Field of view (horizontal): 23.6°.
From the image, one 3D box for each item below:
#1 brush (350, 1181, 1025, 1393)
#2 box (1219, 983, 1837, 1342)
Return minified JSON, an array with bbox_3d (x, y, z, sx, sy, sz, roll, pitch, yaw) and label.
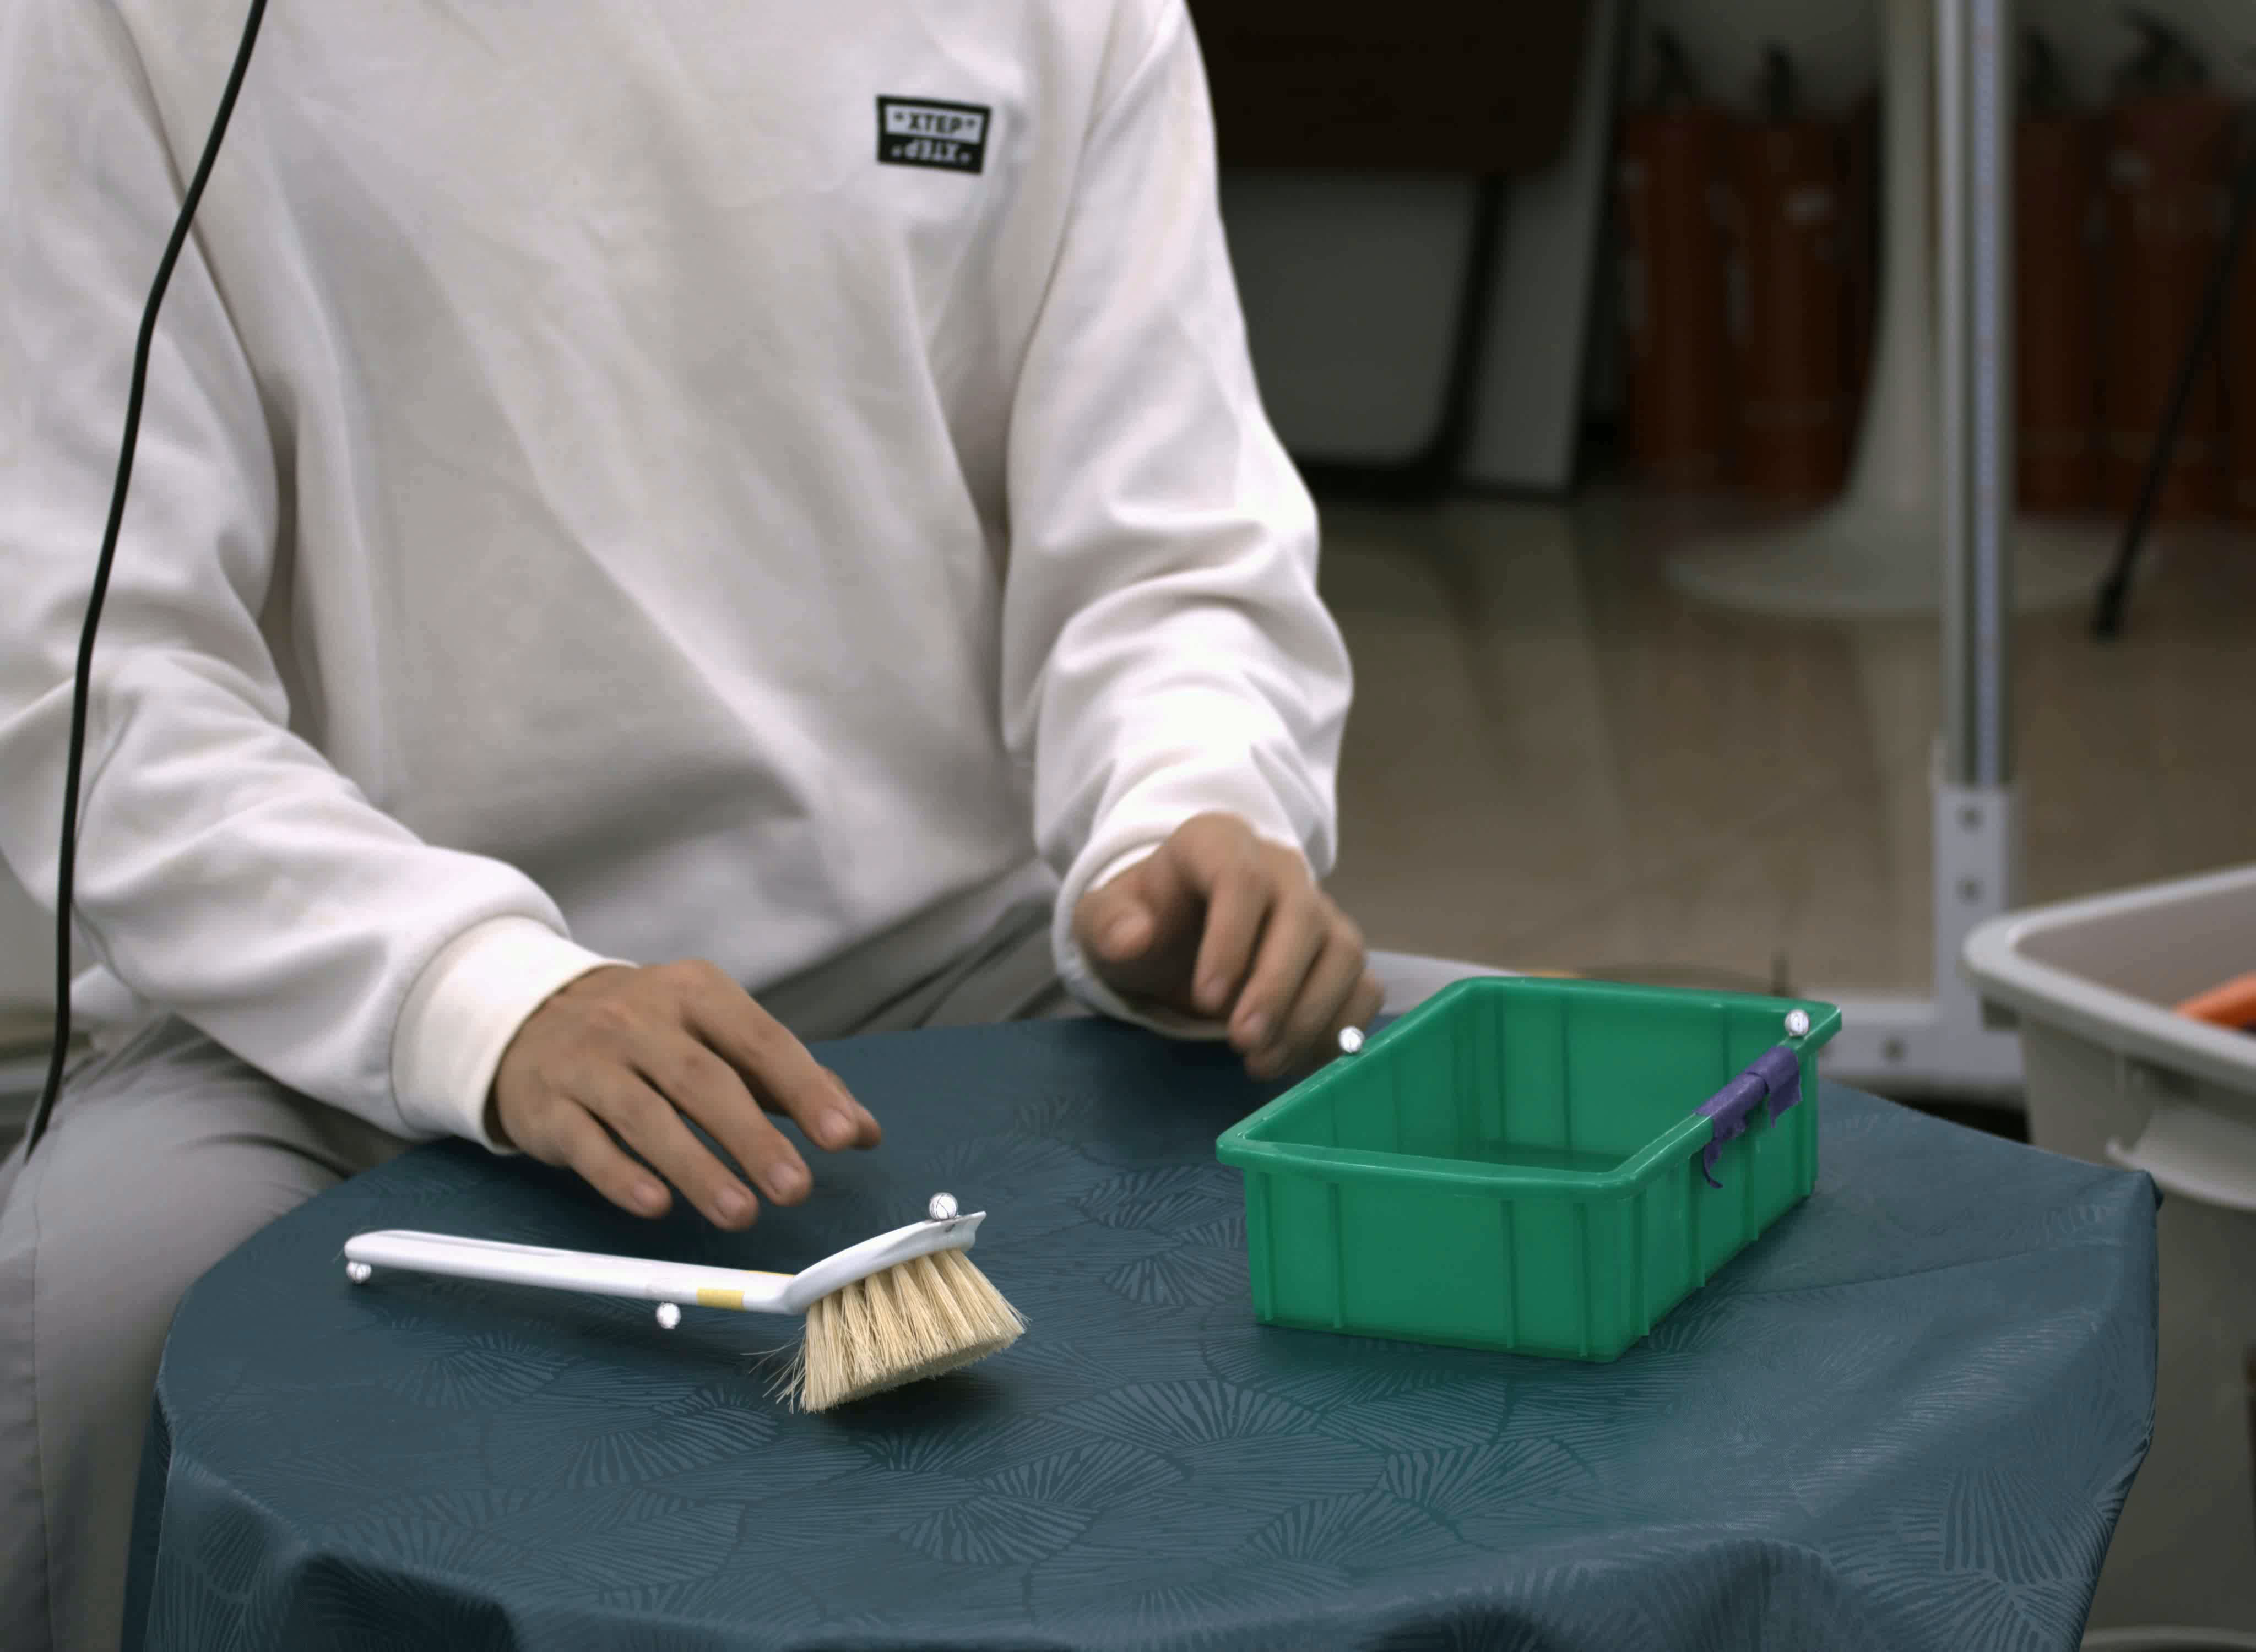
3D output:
[{"bbox_3d":[-0.140,0.152,1.653,0.268,0.057,0.067,-12,-12,39],"label":"brush"},{"bbox_3d":[0.129,0.103,1.679,0.139,0.066,0.207,3,12,27],"label":"box"}]
